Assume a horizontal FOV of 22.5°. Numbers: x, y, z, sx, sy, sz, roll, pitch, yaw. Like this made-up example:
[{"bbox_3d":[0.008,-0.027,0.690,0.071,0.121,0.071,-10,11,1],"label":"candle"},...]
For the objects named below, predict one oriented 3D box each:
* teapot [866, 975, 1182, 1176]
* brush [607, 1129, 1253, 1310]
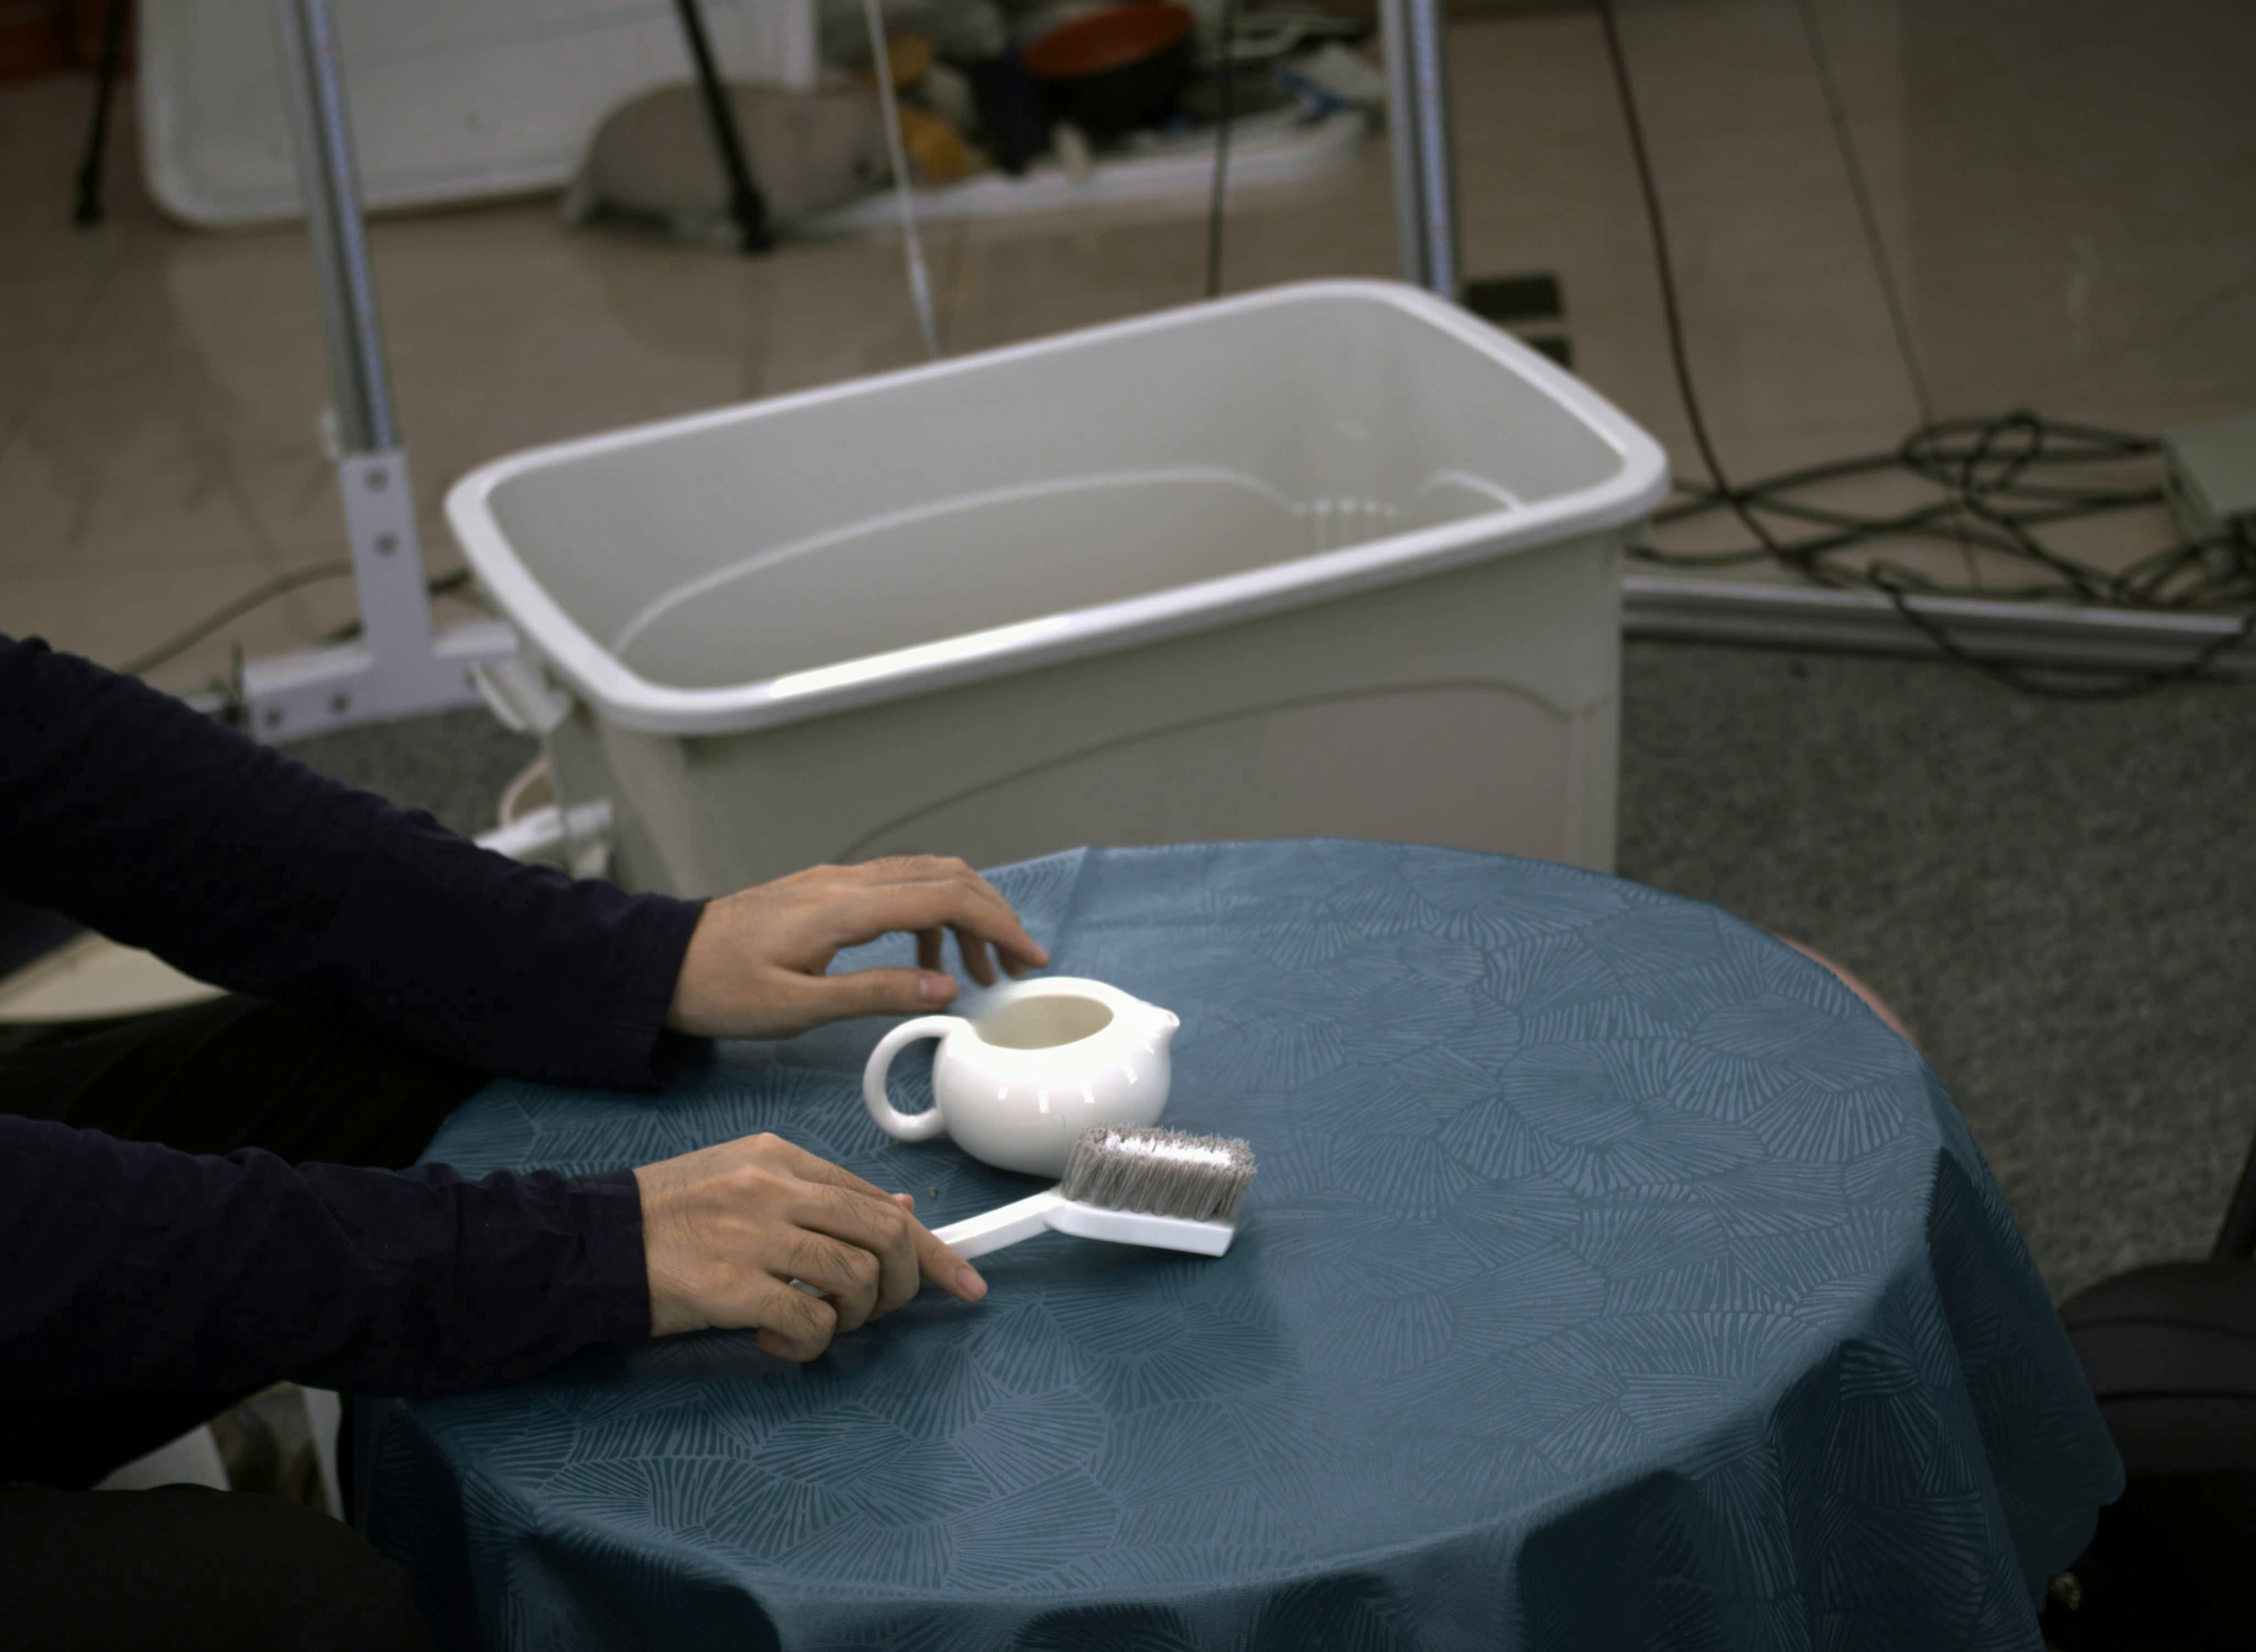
[{"bbox_3d":[-0.039,0.098,2.184,0.127,0.057,0.092,-5,30,7],"label":"teapot"},{"bbox_3d":[-0.074,0.145,2.096,0.243,0.051,0.034,-6,30,1],"label":"brush"}]
